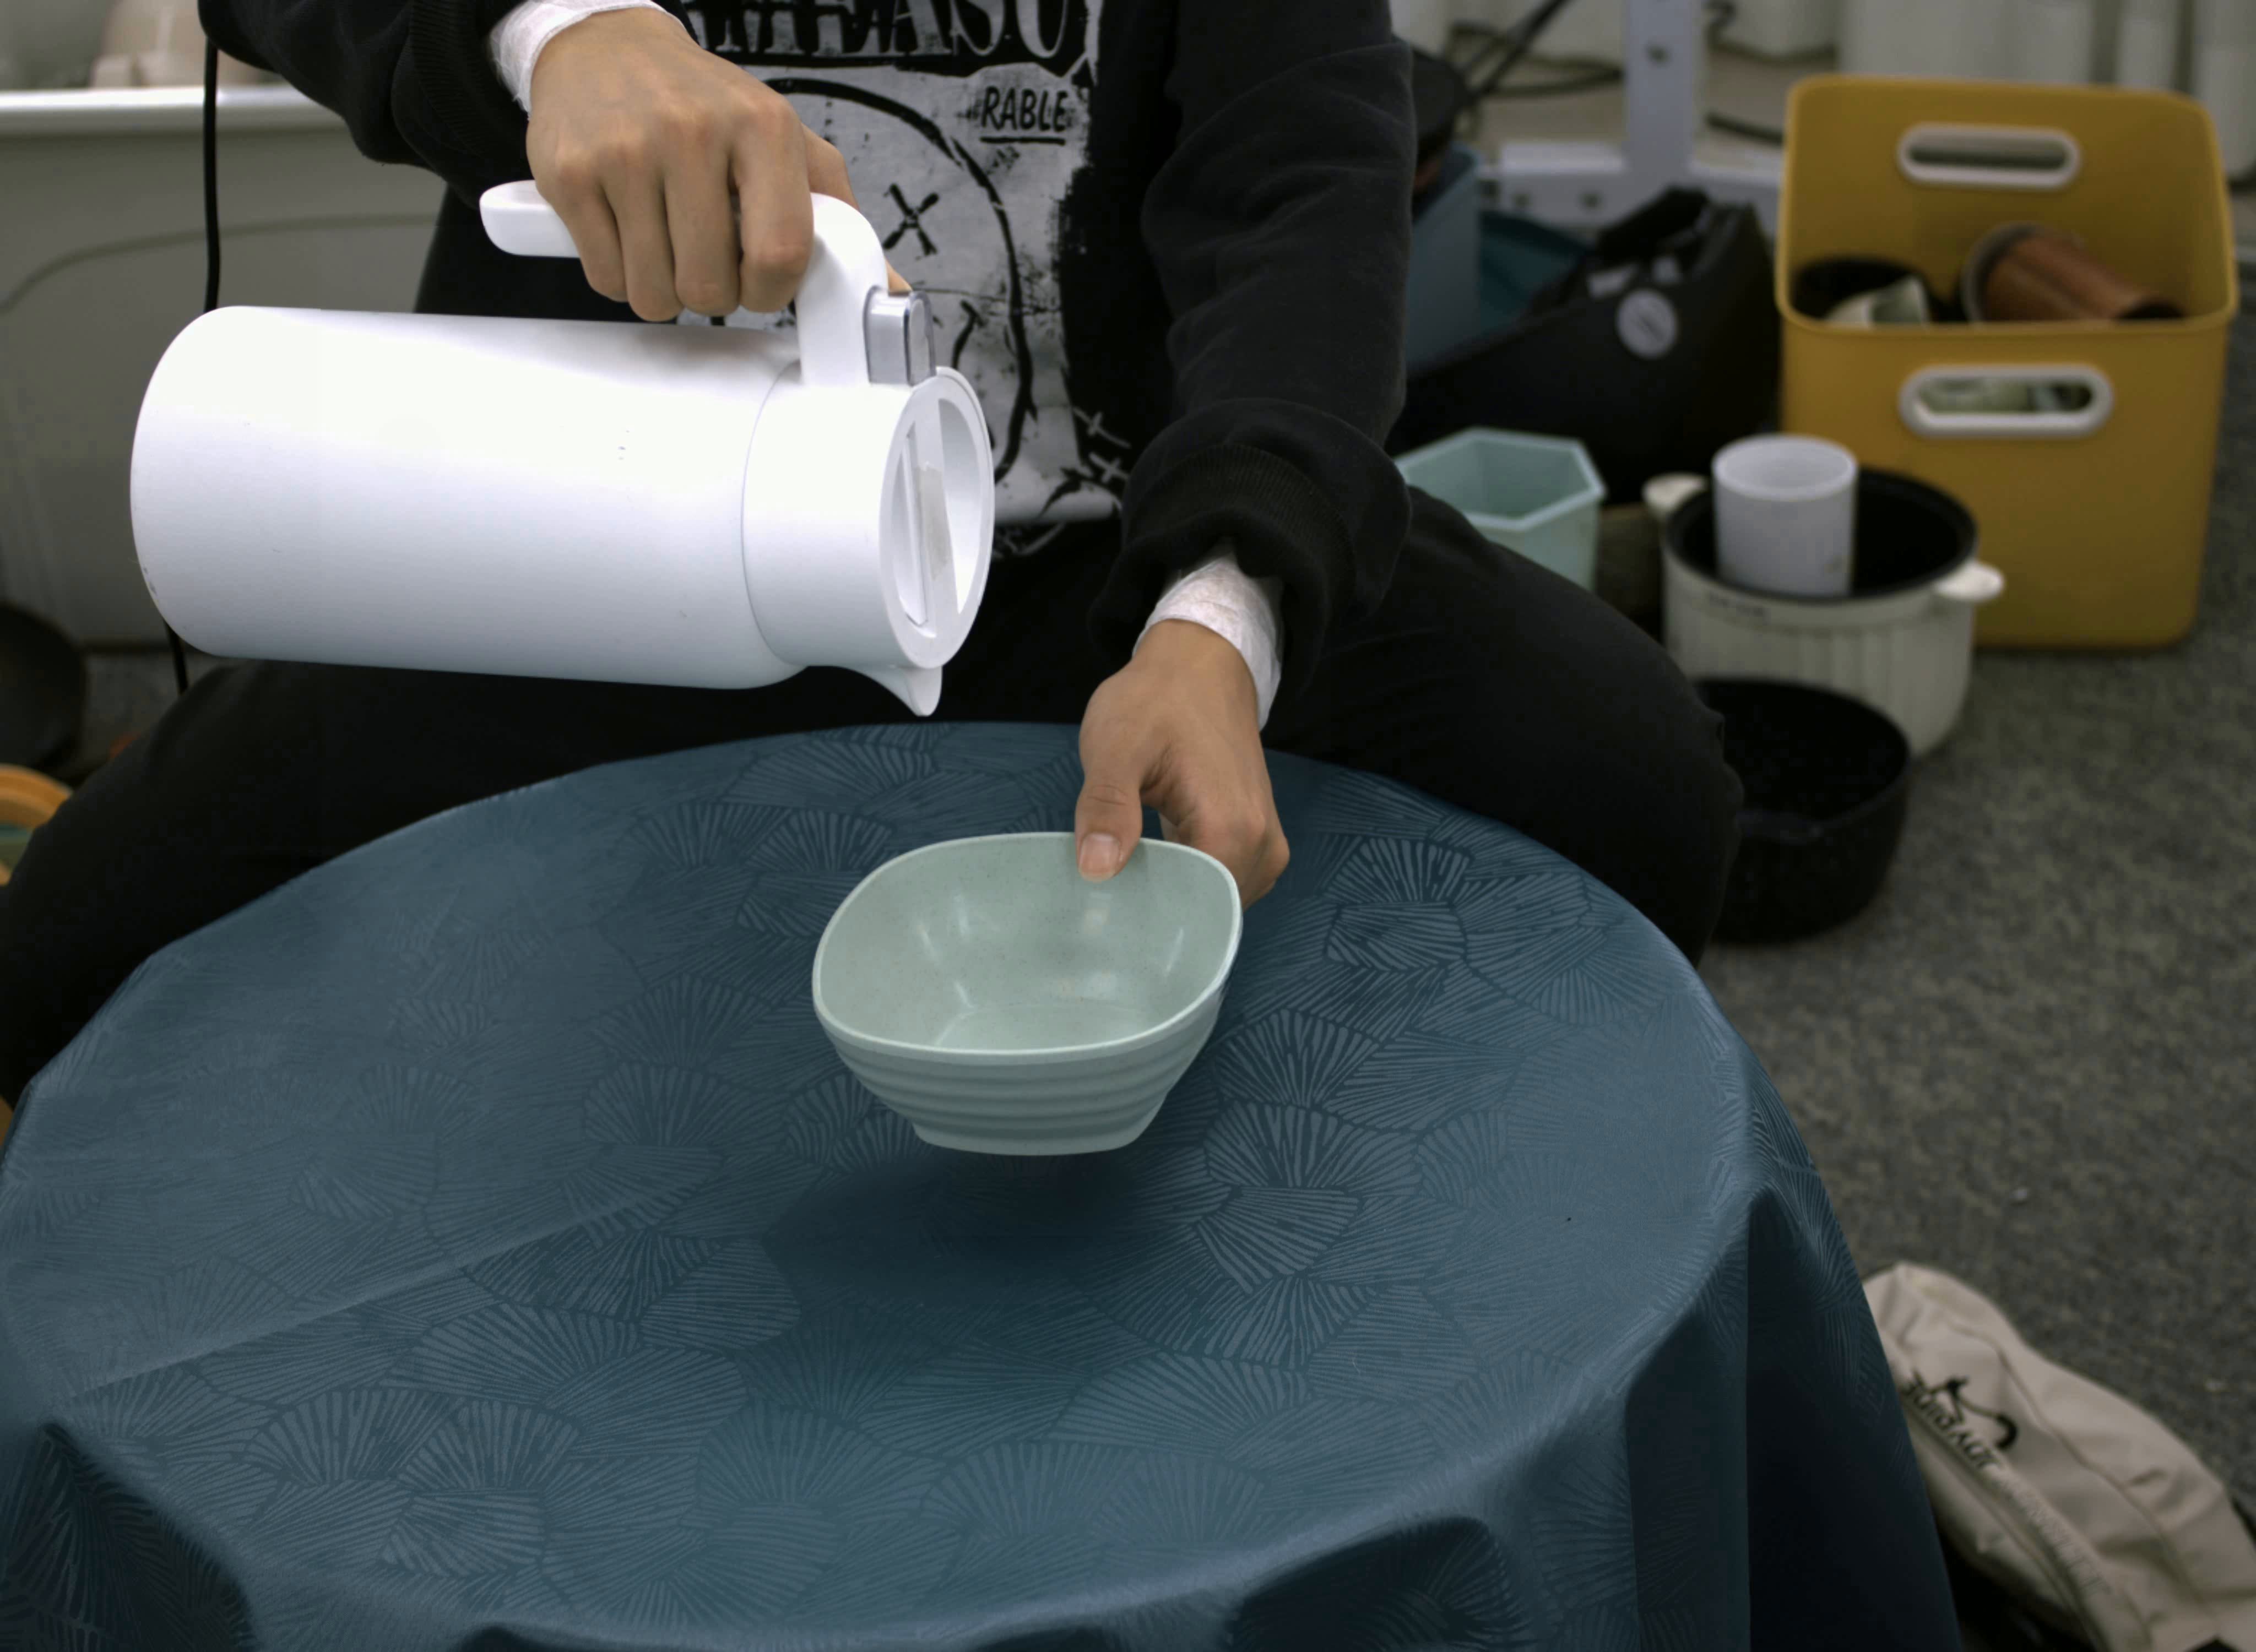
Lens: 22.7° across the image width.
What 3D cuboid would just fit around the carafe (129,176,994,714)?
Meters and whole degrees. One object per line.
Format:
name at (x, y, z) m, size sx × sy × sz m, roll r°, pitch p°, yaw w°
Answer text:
carafe at (-0.185, -0.123, 1.825) m, size 0.267 × 0.171 × 0.126 m, roll 4°, pitch 24°, yaw 21°

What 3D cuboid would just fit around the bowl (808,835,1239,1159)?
bowl at (-0.032, 0.062, 1.837) m, size 0.150 × 0.058 × 0.154 m, roll -4°, pitch 29°, yaw 2°
